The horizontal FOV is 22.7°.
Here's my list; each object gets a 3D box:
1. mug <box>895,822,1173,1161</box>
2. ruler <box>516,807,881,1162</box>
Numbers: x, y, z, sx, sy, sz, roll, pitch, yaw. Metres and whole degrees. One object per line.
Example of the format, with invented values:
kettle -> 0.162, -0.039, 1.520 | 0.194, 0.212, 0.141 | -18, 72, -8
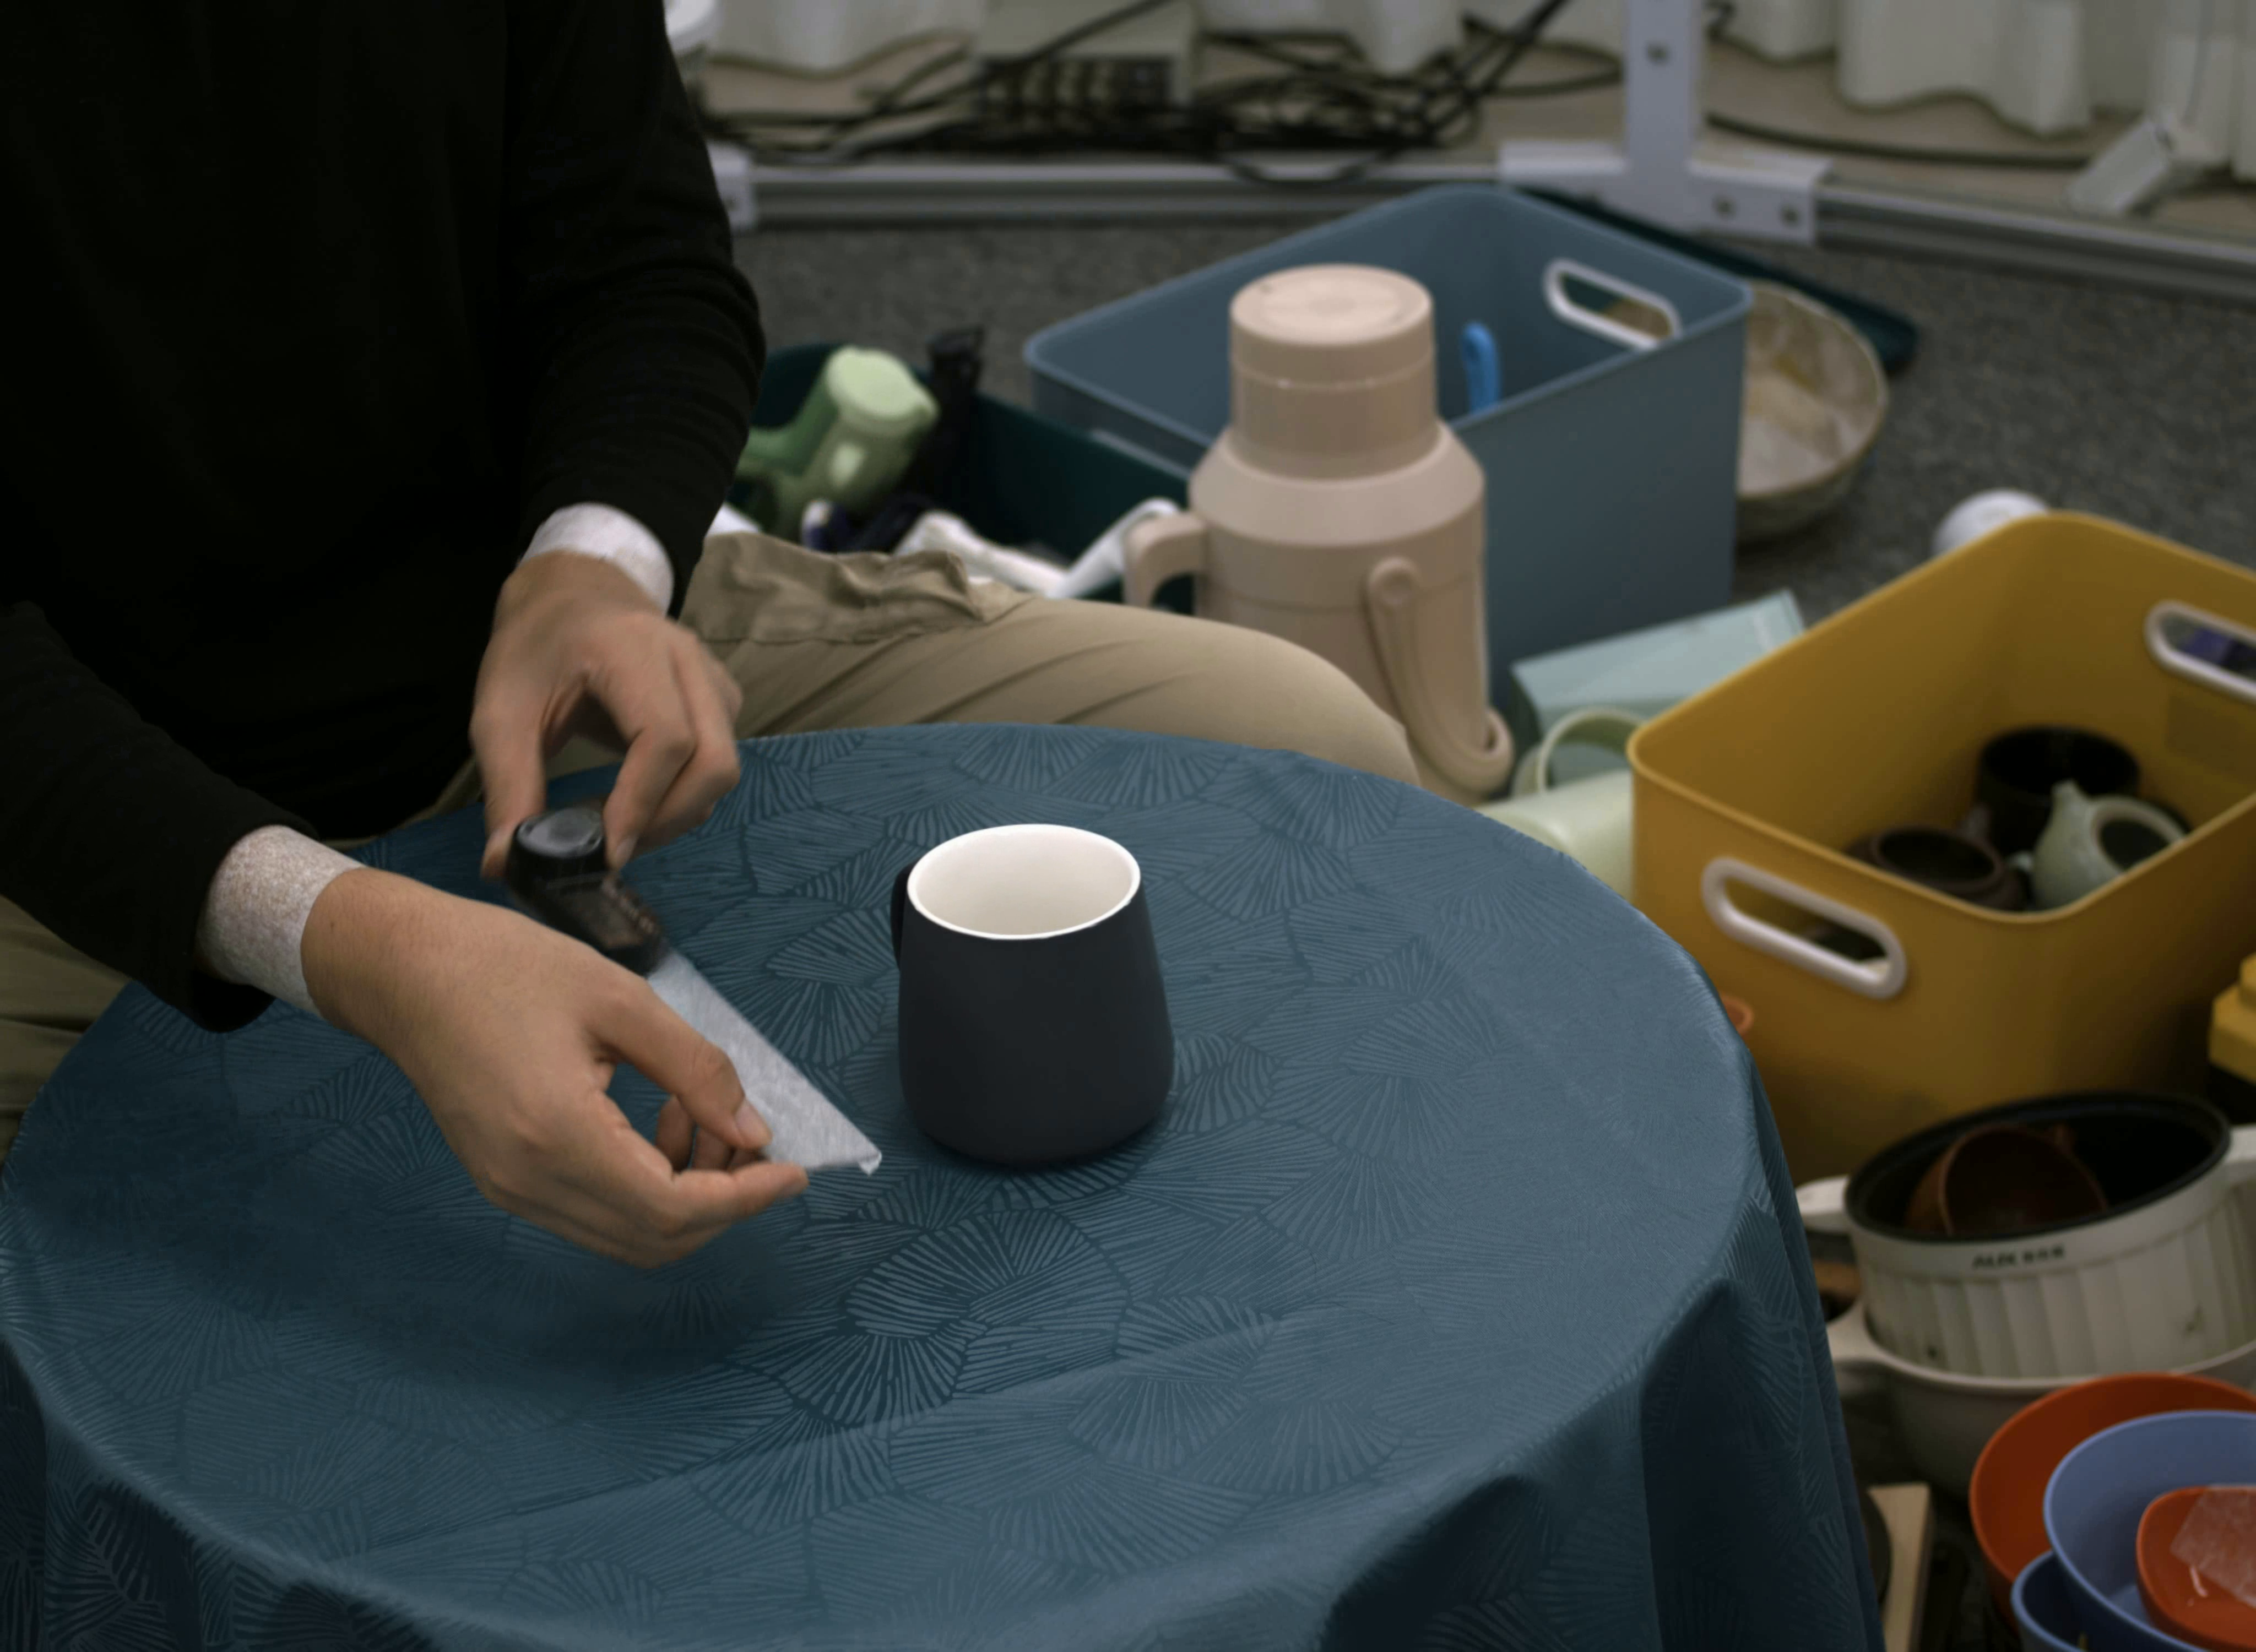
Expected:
mug -> -0.041, 0.051, 1.902 | 0.094, 0.089, 0.123 | -19, 32, -30
ruler -> -0.147, 0.049, 1.851 | 0.038, 0.024, 0.219 | -14, 31, -26
